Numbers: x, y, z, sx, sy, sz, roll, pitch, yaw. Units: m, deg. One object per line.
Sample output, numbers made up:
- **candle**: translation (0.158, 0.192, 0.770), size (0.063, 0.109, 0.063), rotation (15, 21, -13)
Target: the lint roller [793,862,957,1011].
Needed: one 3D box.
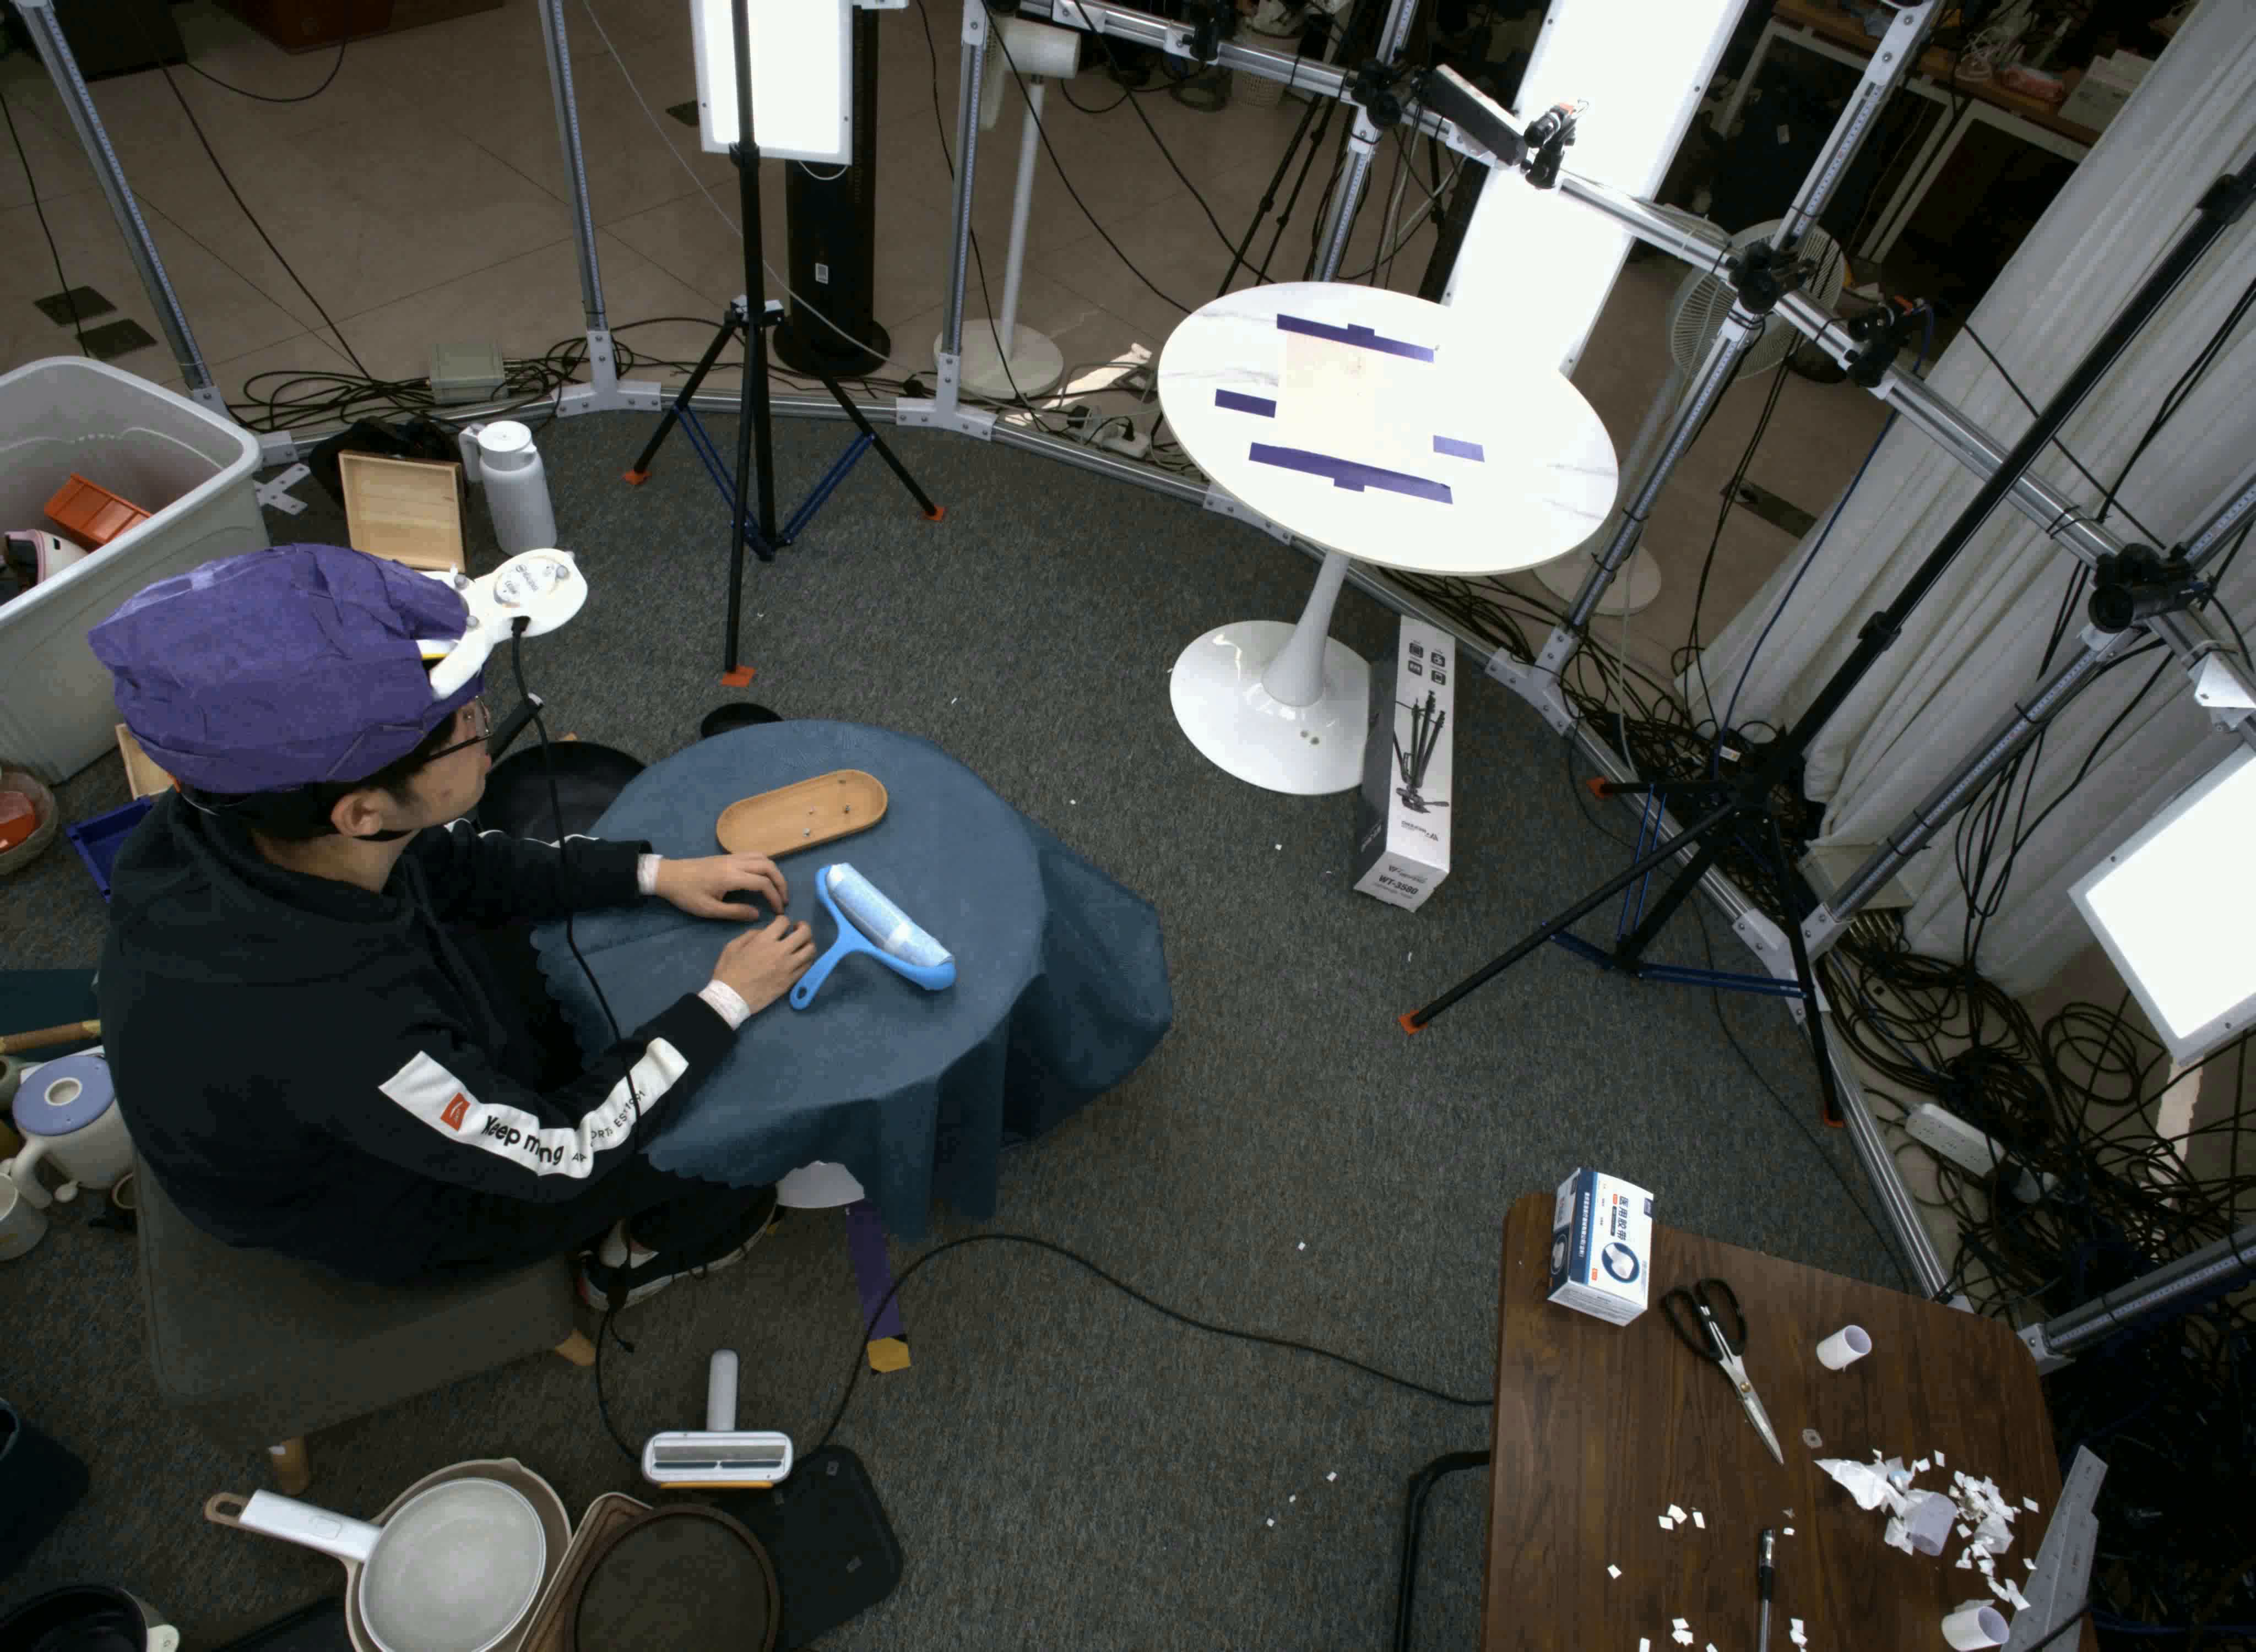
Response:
- **lint roller**: translation (-0.340, 0.154, 1.601), size (0.225, 0.069, 0.180), rotation (37, 53, 12)

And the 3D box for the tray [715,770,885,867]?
- **tray**: translation (-0.435, -0.012, 1.726), size (0.232, 0.021, 0.099), rotation (-22, 61, -26)
